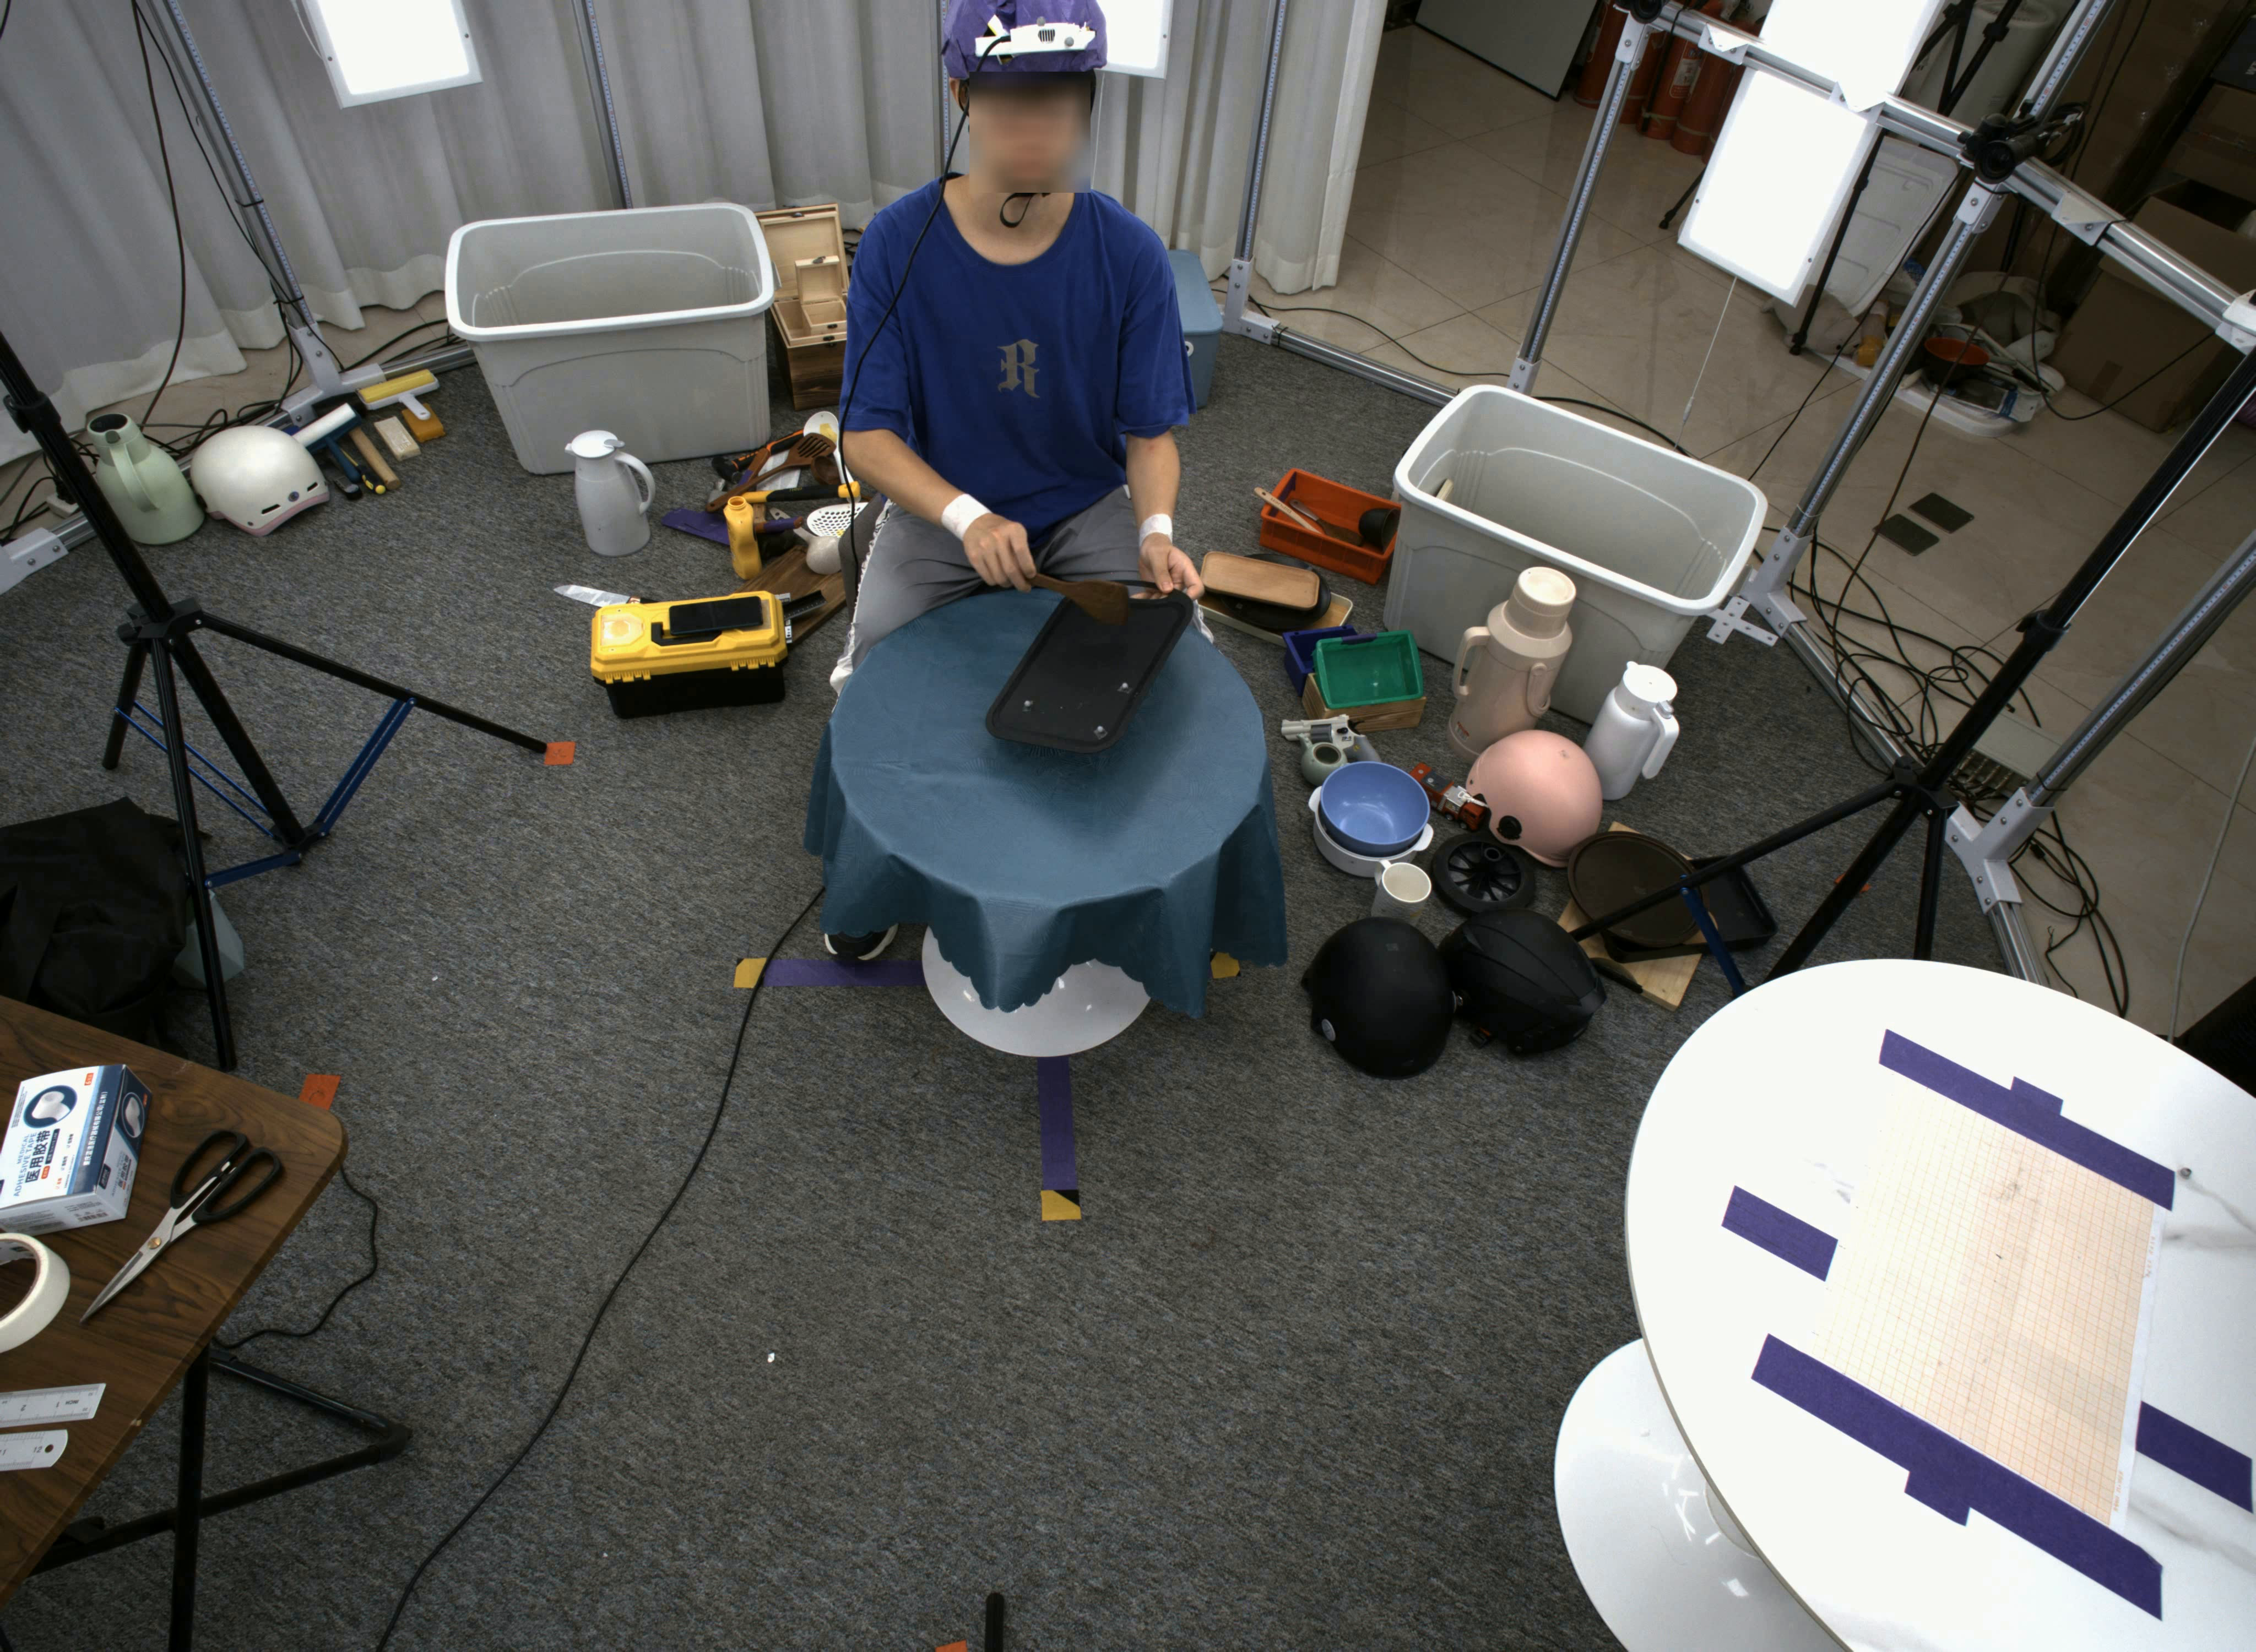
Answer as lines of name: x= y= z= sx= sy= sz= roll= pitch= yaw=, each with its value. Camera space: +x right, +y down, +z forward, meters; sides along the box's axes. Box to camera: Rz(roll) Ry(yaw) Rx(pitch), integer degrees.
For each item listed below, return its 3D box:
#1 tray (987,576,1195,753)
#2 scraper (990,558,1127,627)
tray: x=-0.046 y=-0.232 z=1.749 sx=0.213 sy=0.009 sz=0.331 roll=12 pitch=56 yaw=28
scraper: x=-0.097 y=-0.325 z=1.748 sx=0.213 sy=0.074 sz=0.011 roll=21 pitch=56 yaw=20
